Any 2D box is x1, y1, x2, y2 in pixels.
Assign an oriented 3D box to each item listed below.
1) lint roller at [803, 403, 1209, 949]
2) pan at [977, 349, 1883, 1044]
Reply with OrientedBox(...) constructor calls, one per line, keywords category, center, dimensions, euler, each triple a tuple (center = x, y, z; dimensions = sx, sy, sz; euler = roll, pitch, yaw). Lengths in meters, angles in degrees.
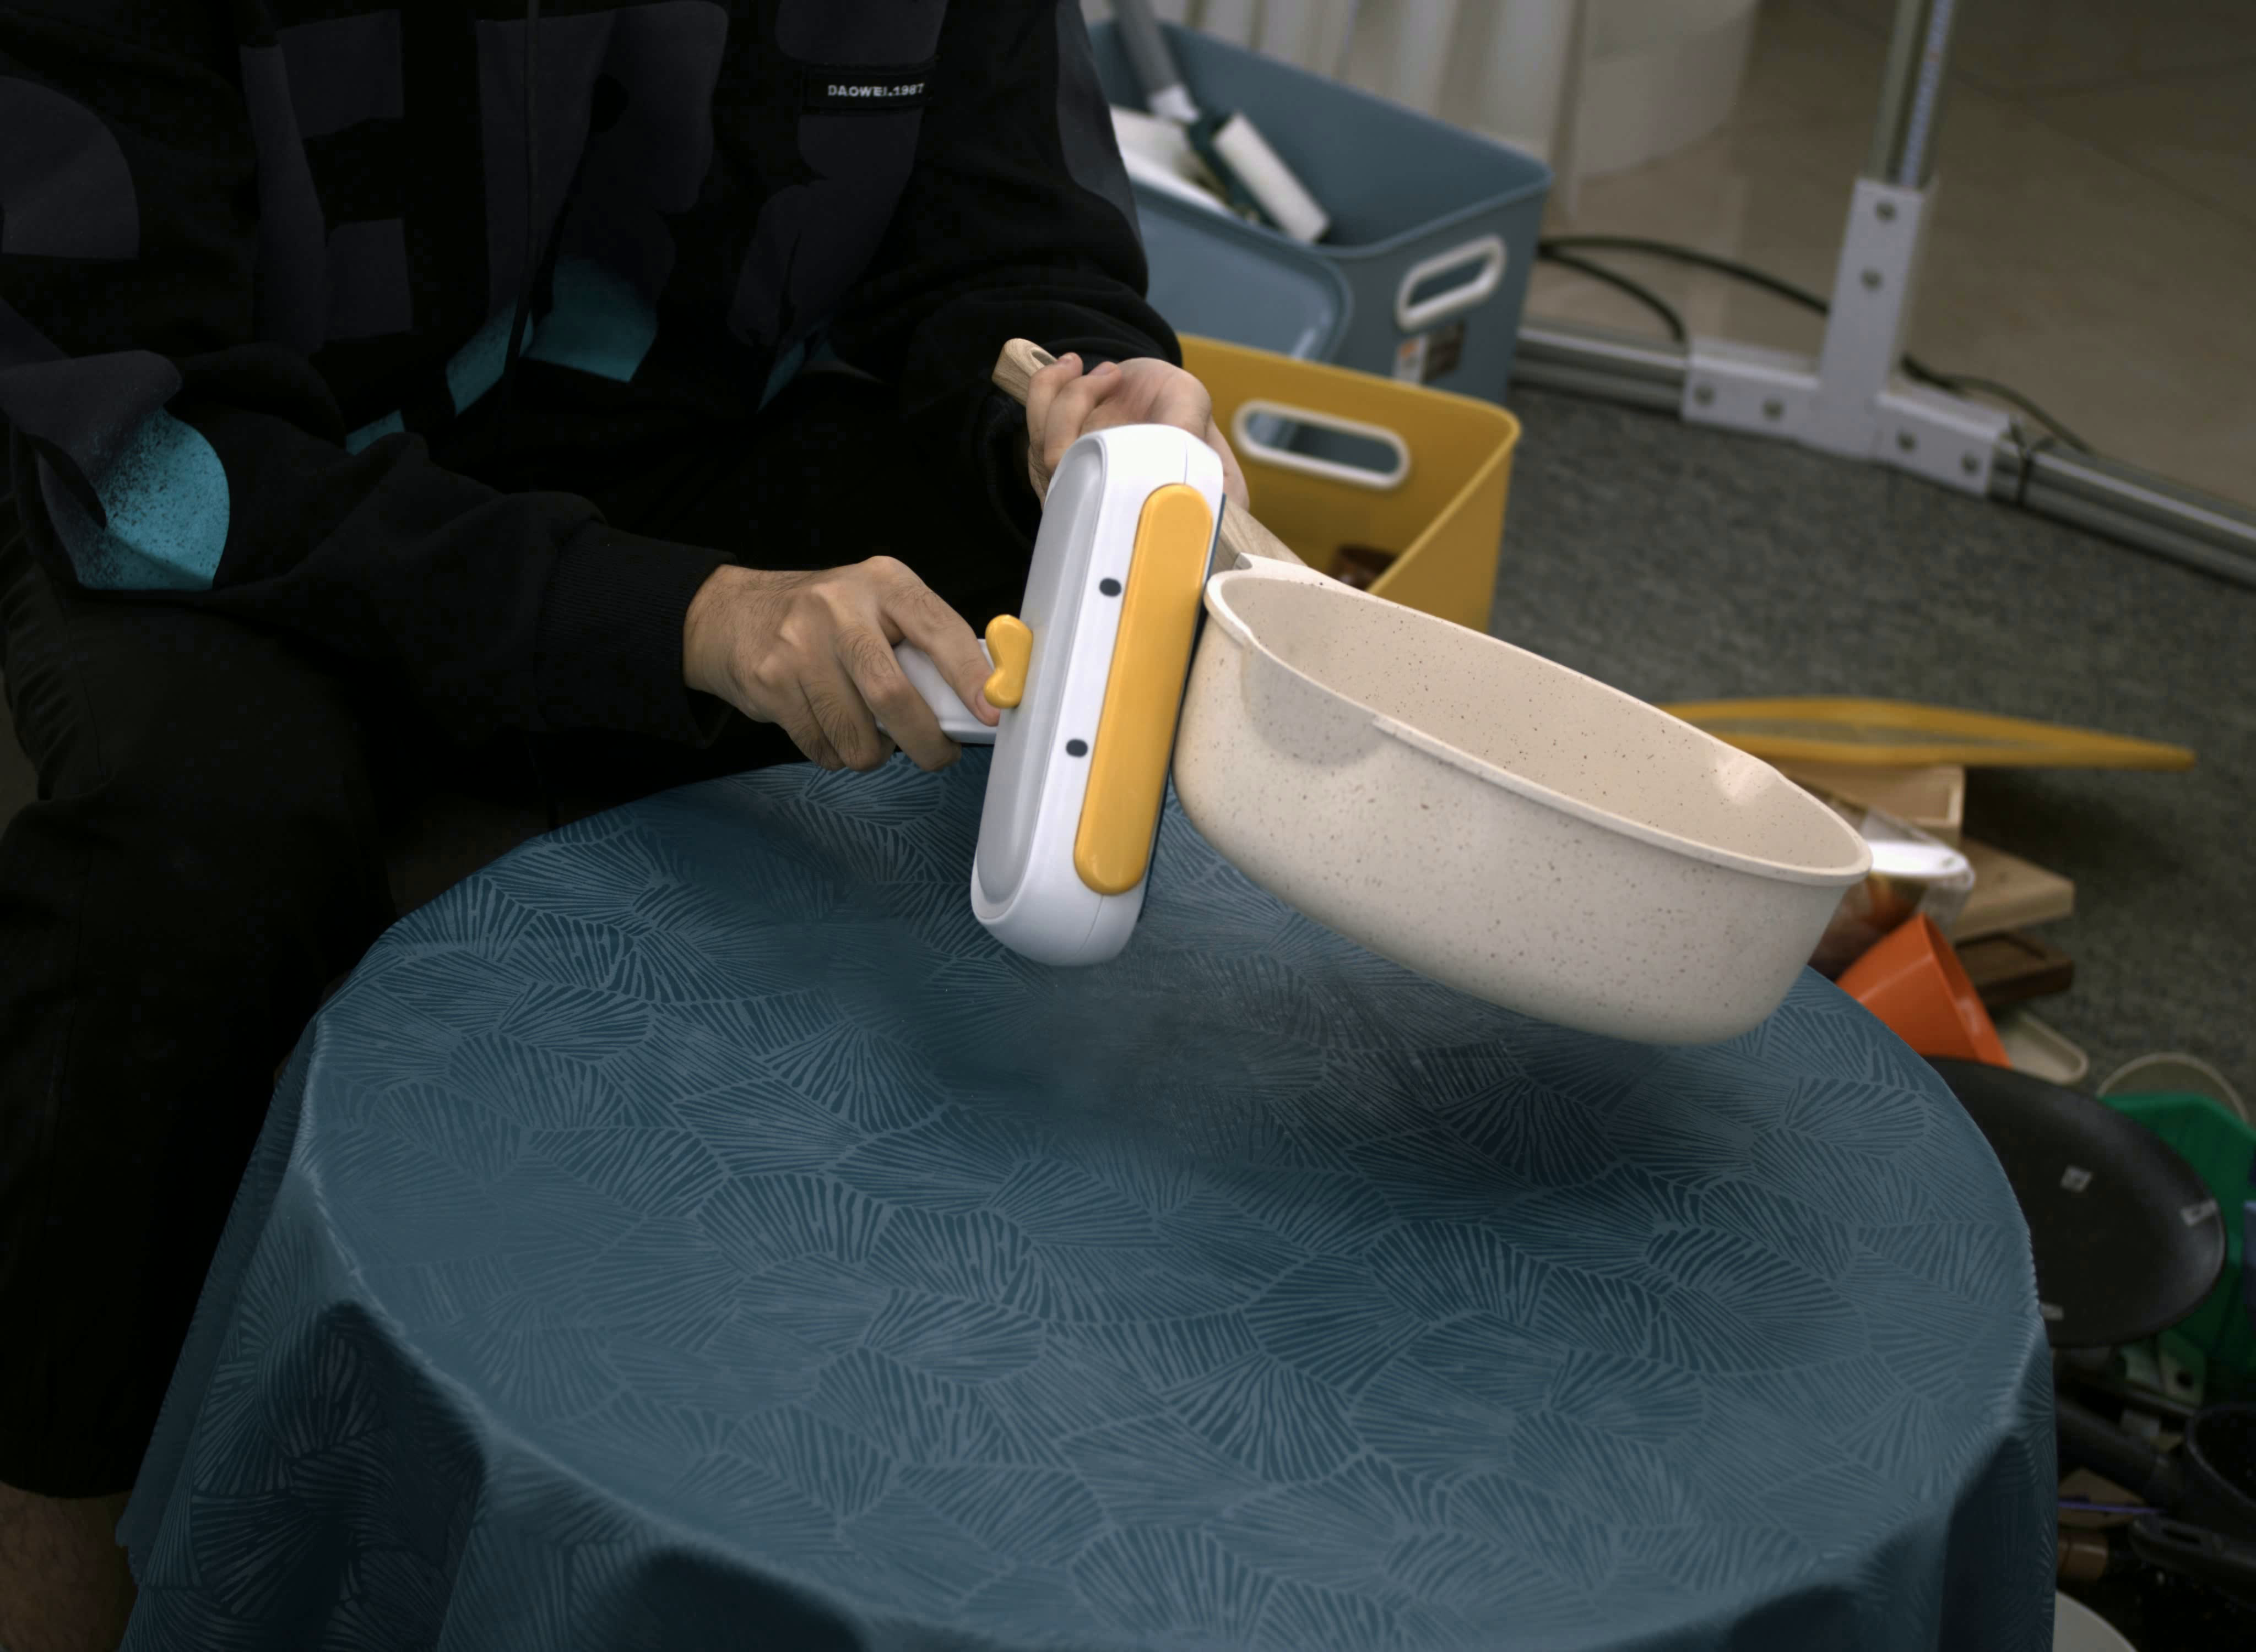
OrientedBox(category="lint roller", center=(-0.047, -0.050, 1.904), dimensions=(0.073, 0.194, 0.193), euler=(10, -10, -30))
OrientedBox(category="pan", center=(0.075, -0.047, 1.916), dimensions=(0.261, 0.102, 0.438), euler=(6, 21, -45))
